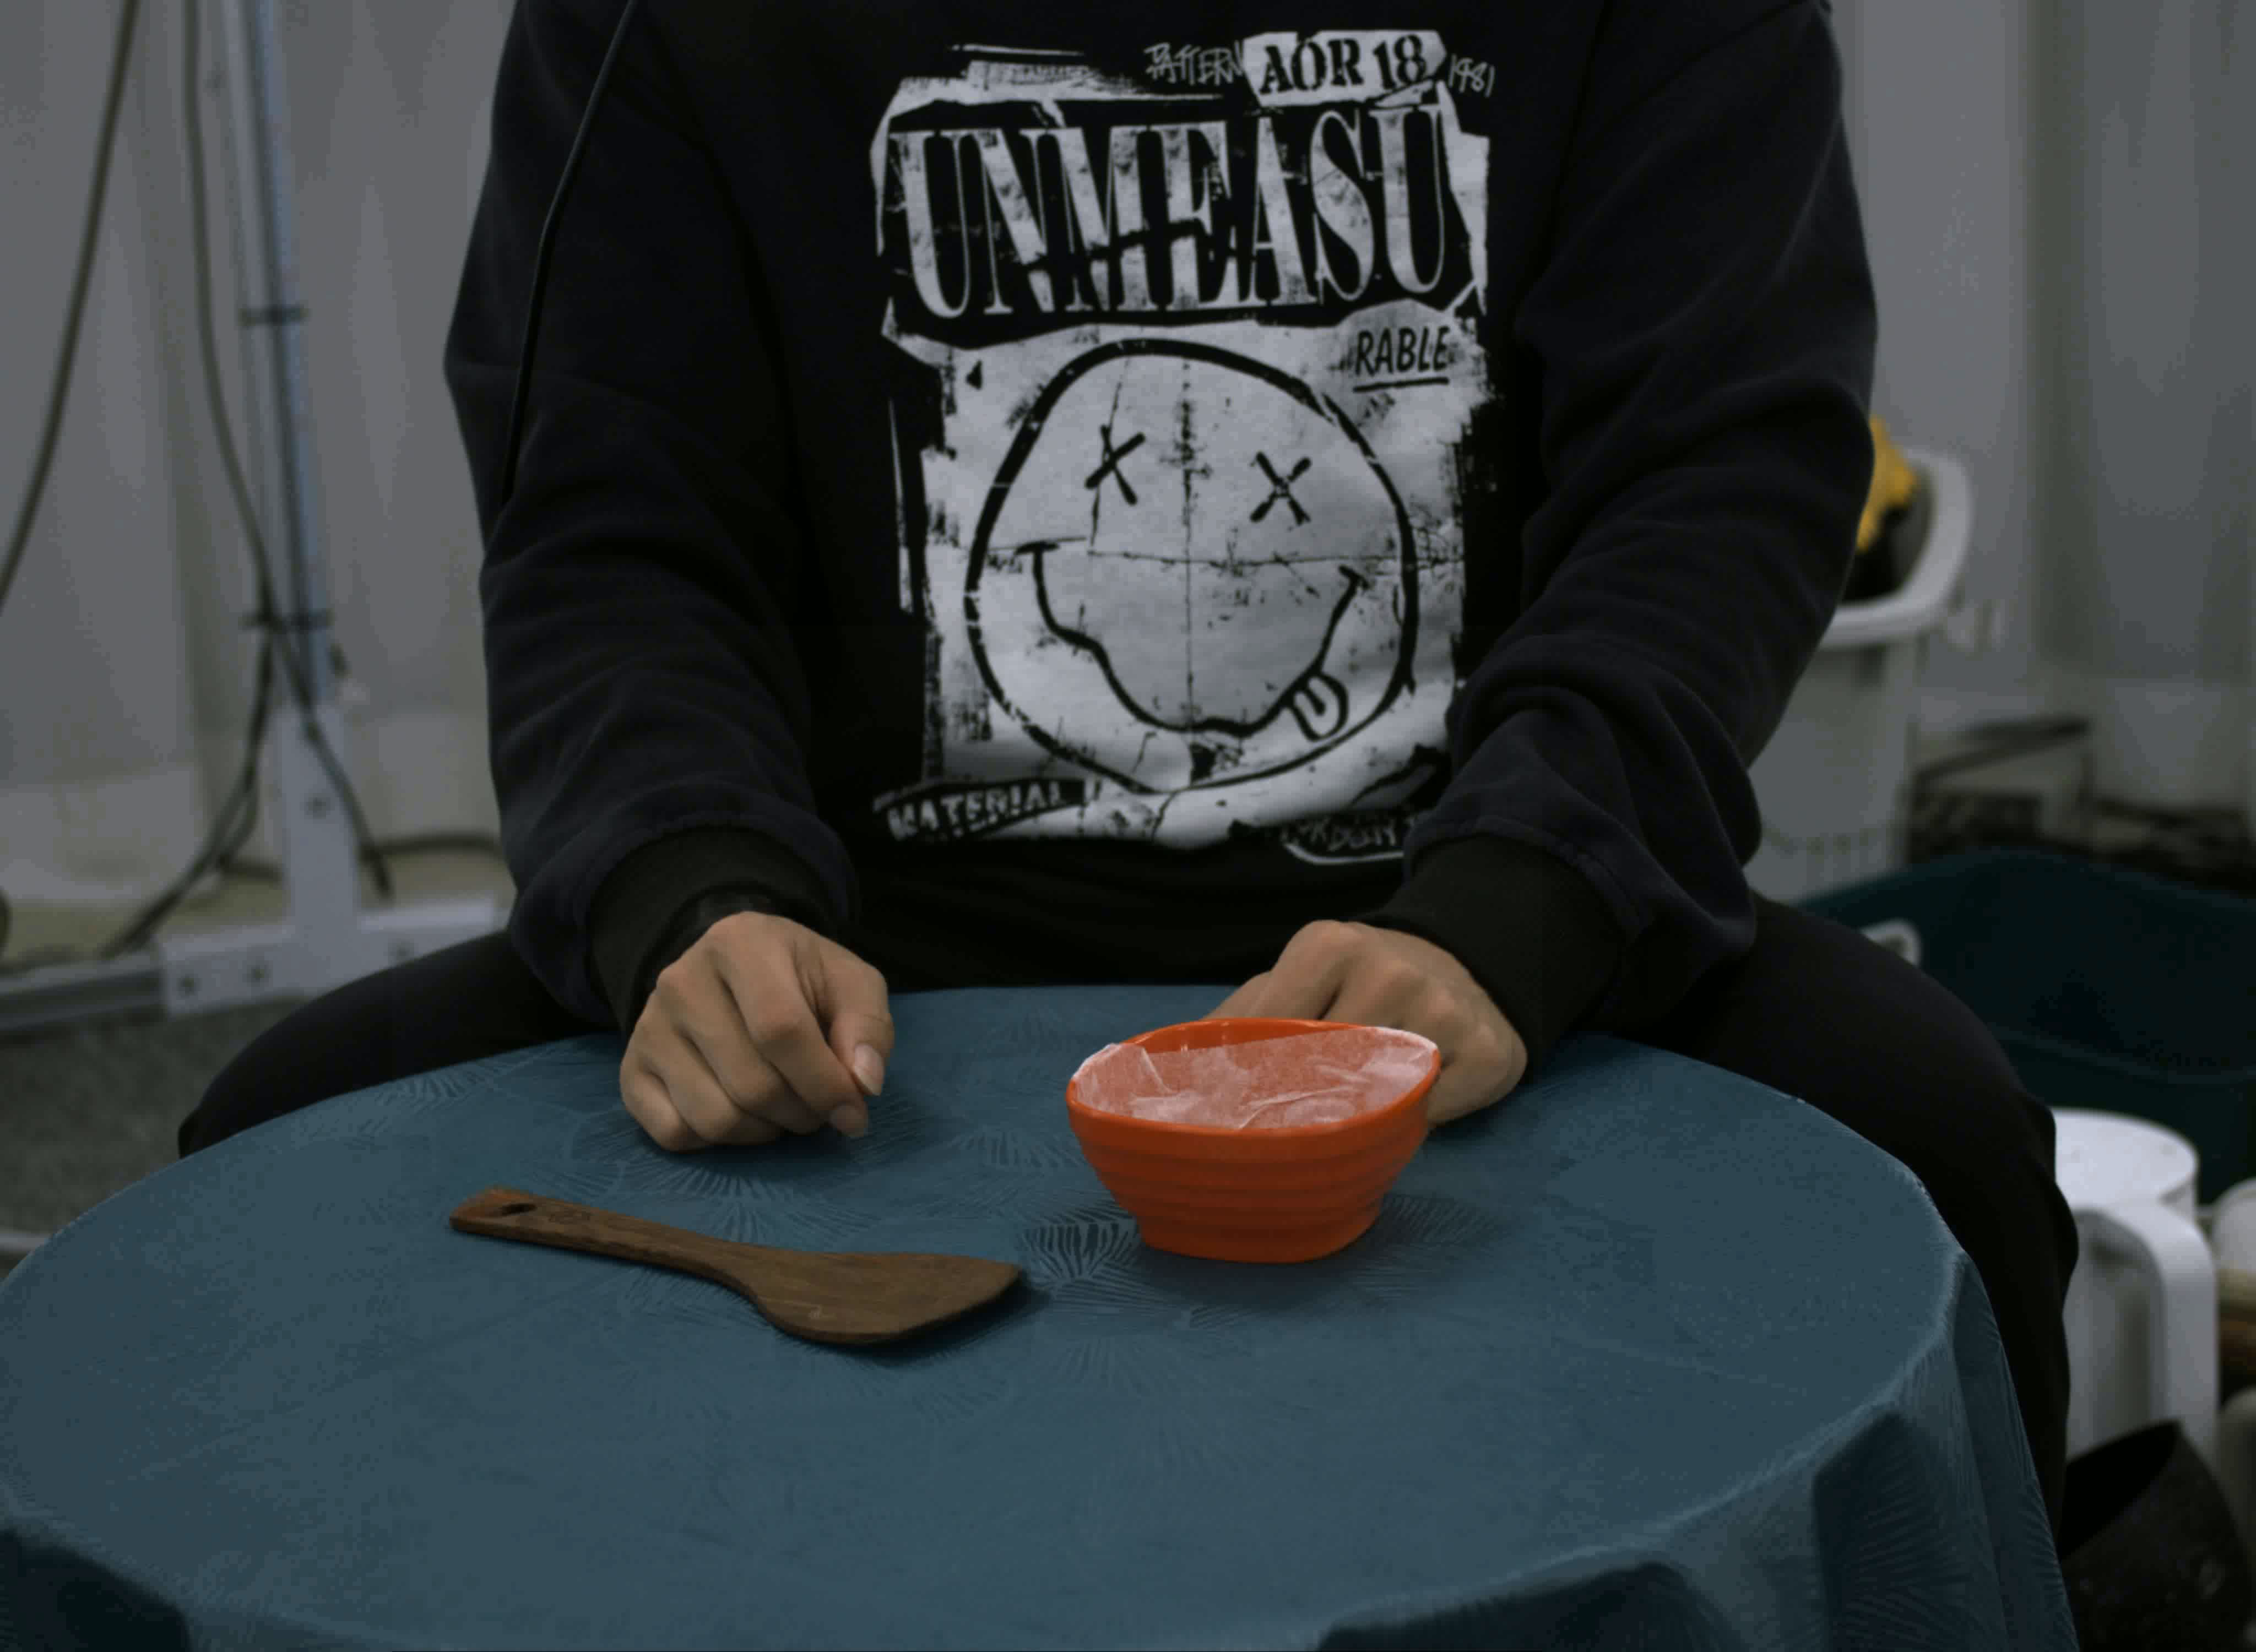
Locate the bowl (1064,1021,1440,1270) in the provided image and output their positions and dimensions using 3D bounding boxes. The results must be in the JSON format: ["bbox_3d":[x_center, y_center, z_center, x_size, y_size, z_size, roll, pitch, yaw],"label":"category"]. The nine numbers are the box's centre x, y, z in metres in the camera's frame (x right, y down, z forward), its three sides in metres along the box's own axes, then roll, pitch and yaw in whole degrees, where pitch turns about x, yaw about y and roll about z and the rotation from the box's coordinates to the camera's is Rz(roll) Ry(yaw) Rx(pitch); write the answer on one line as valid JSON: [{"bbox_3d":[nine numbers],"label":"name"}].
[{"bbox_3d":[0.039,0.100,1.670,0.118,0.051,0.120,-3,15,1],"label":"bowl"}]

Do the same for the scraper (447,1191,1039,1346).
[{"bbox_3d":[-0.125,0.131,1.660,0.212,0.011,0.076,8,18,37],"label":"scraper"}]
